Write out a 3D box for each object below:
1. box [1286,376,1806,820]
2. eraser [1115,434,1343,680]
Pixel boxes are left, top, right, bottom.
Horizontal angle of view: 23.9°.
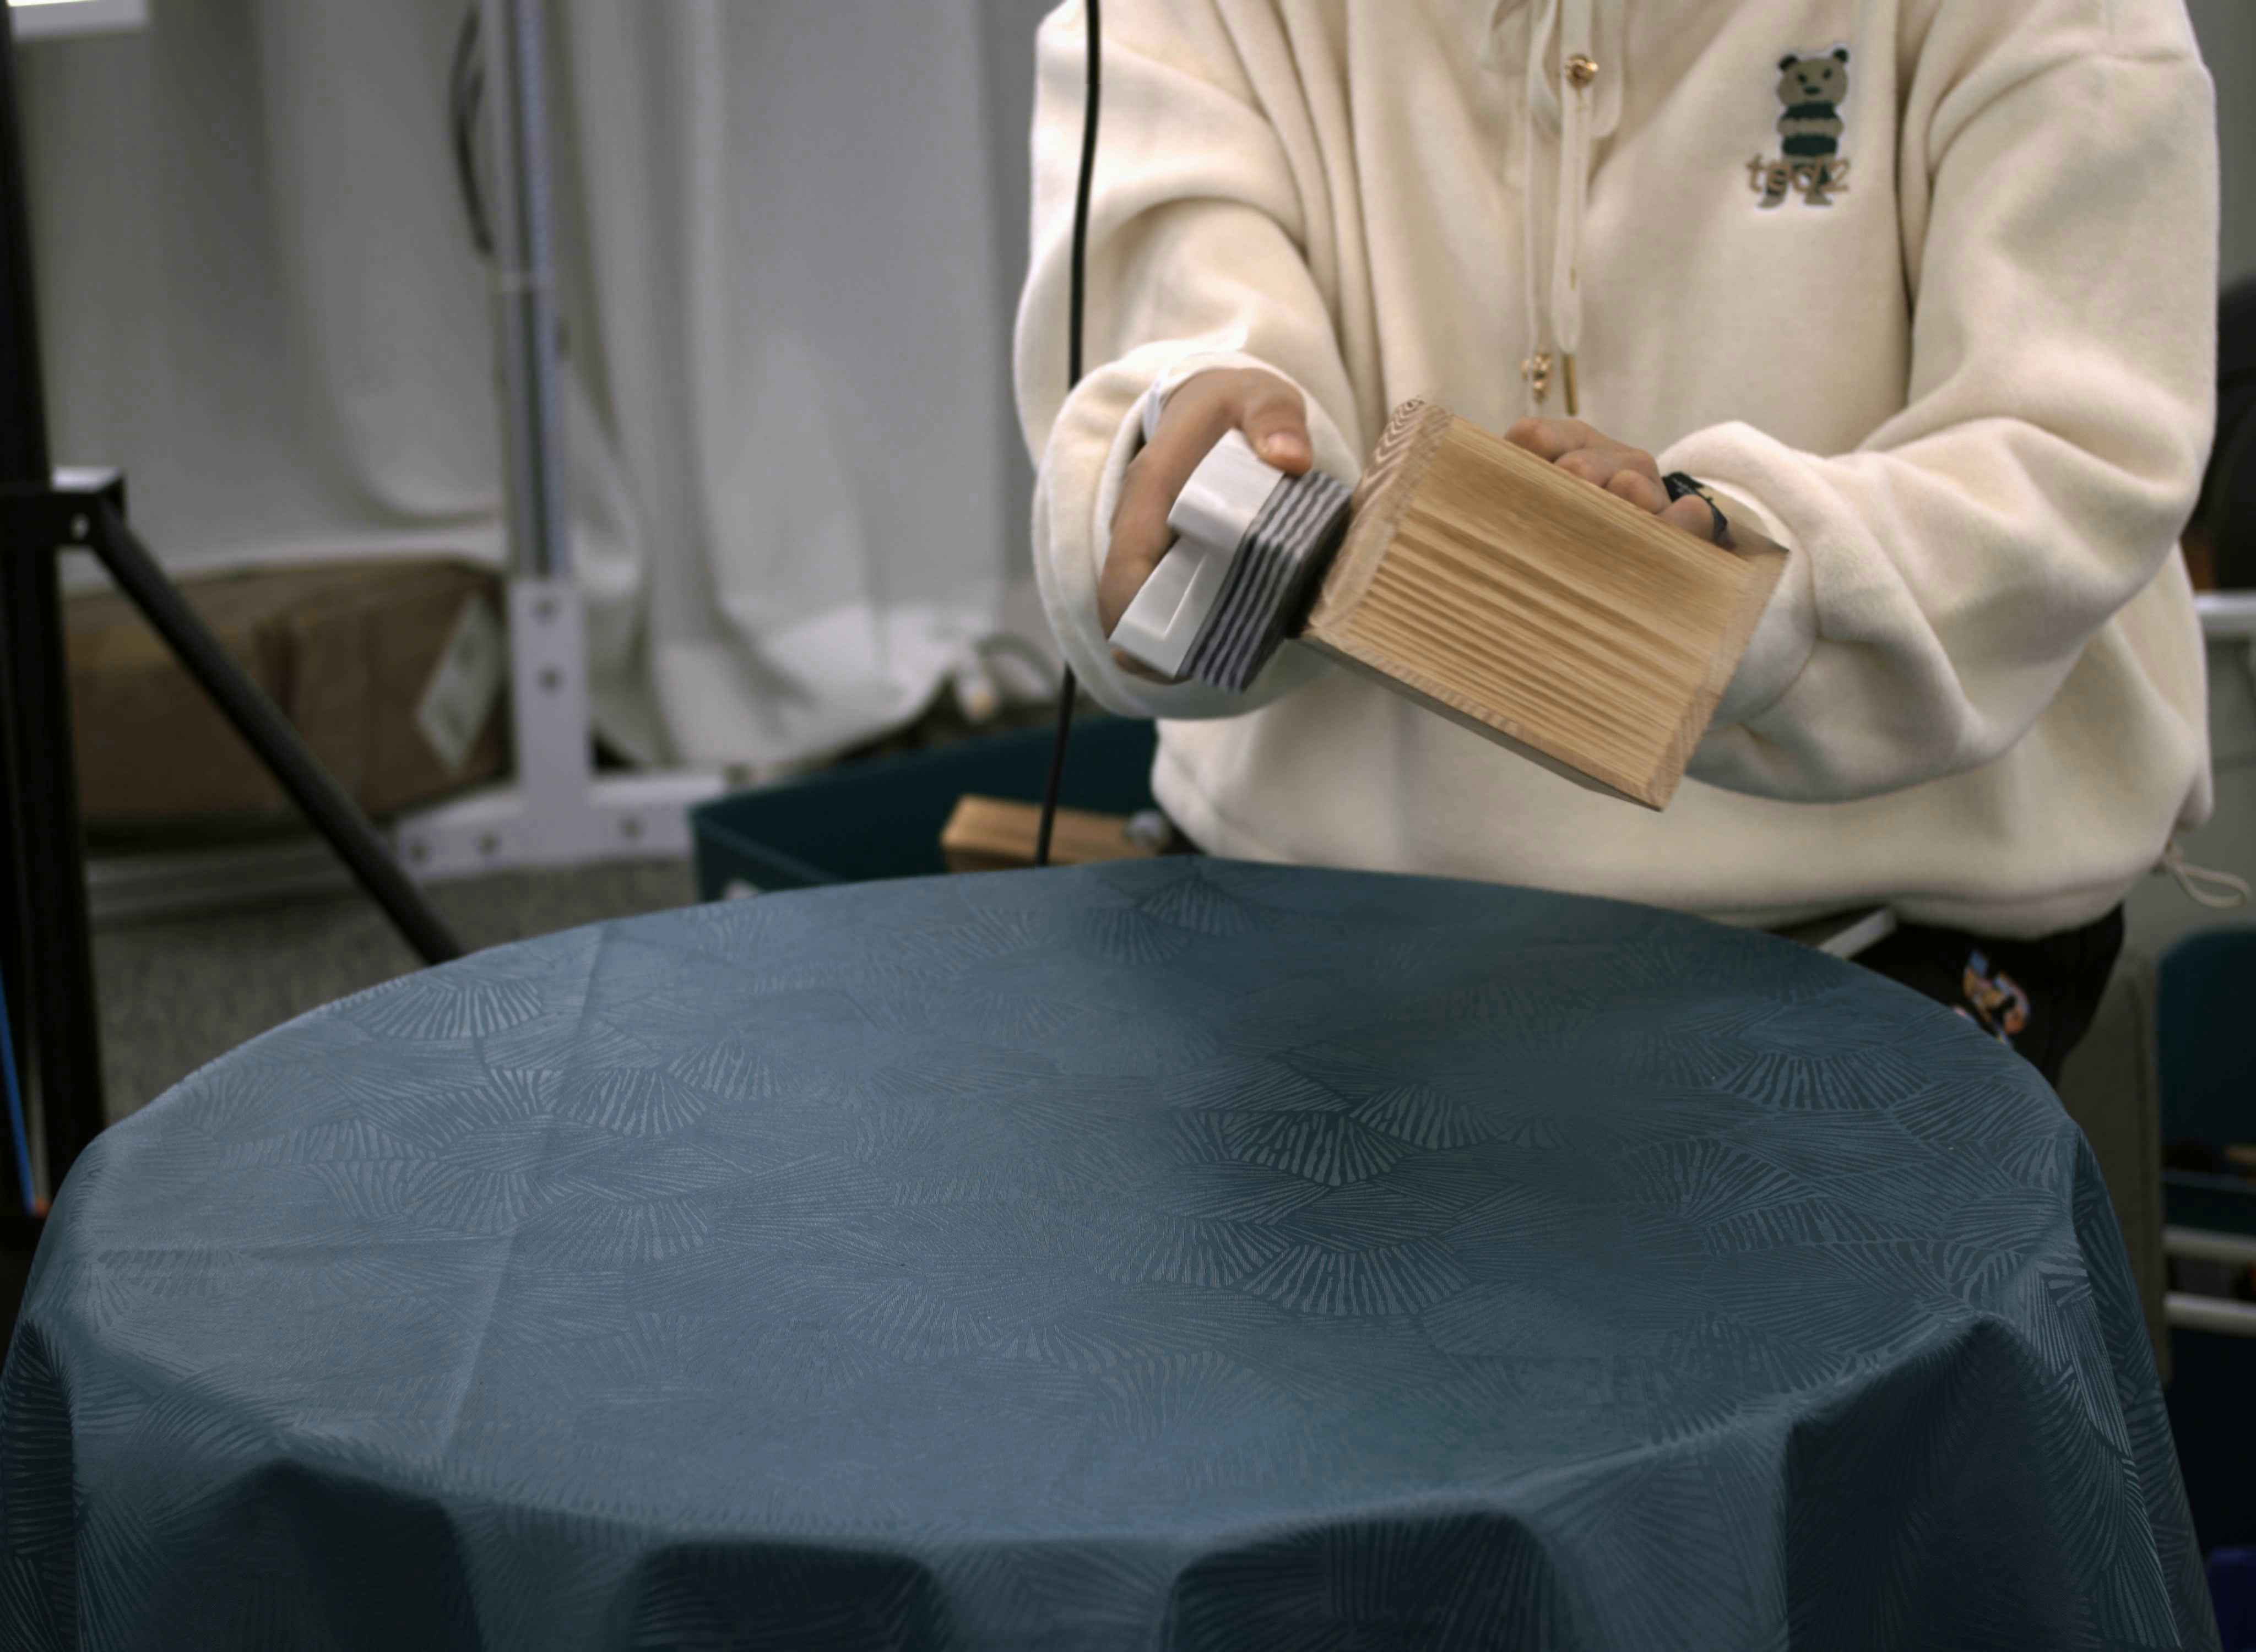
[{"bbox_3d":[0.114,-0.064,1.517,0.107,0.080,0.211,27,2,-2],"label":"box"},{"bbox_3d":[0.033,-0.081,1.587,0.046,0.050,0.134,24,11,2],"label":"eraser"}]
